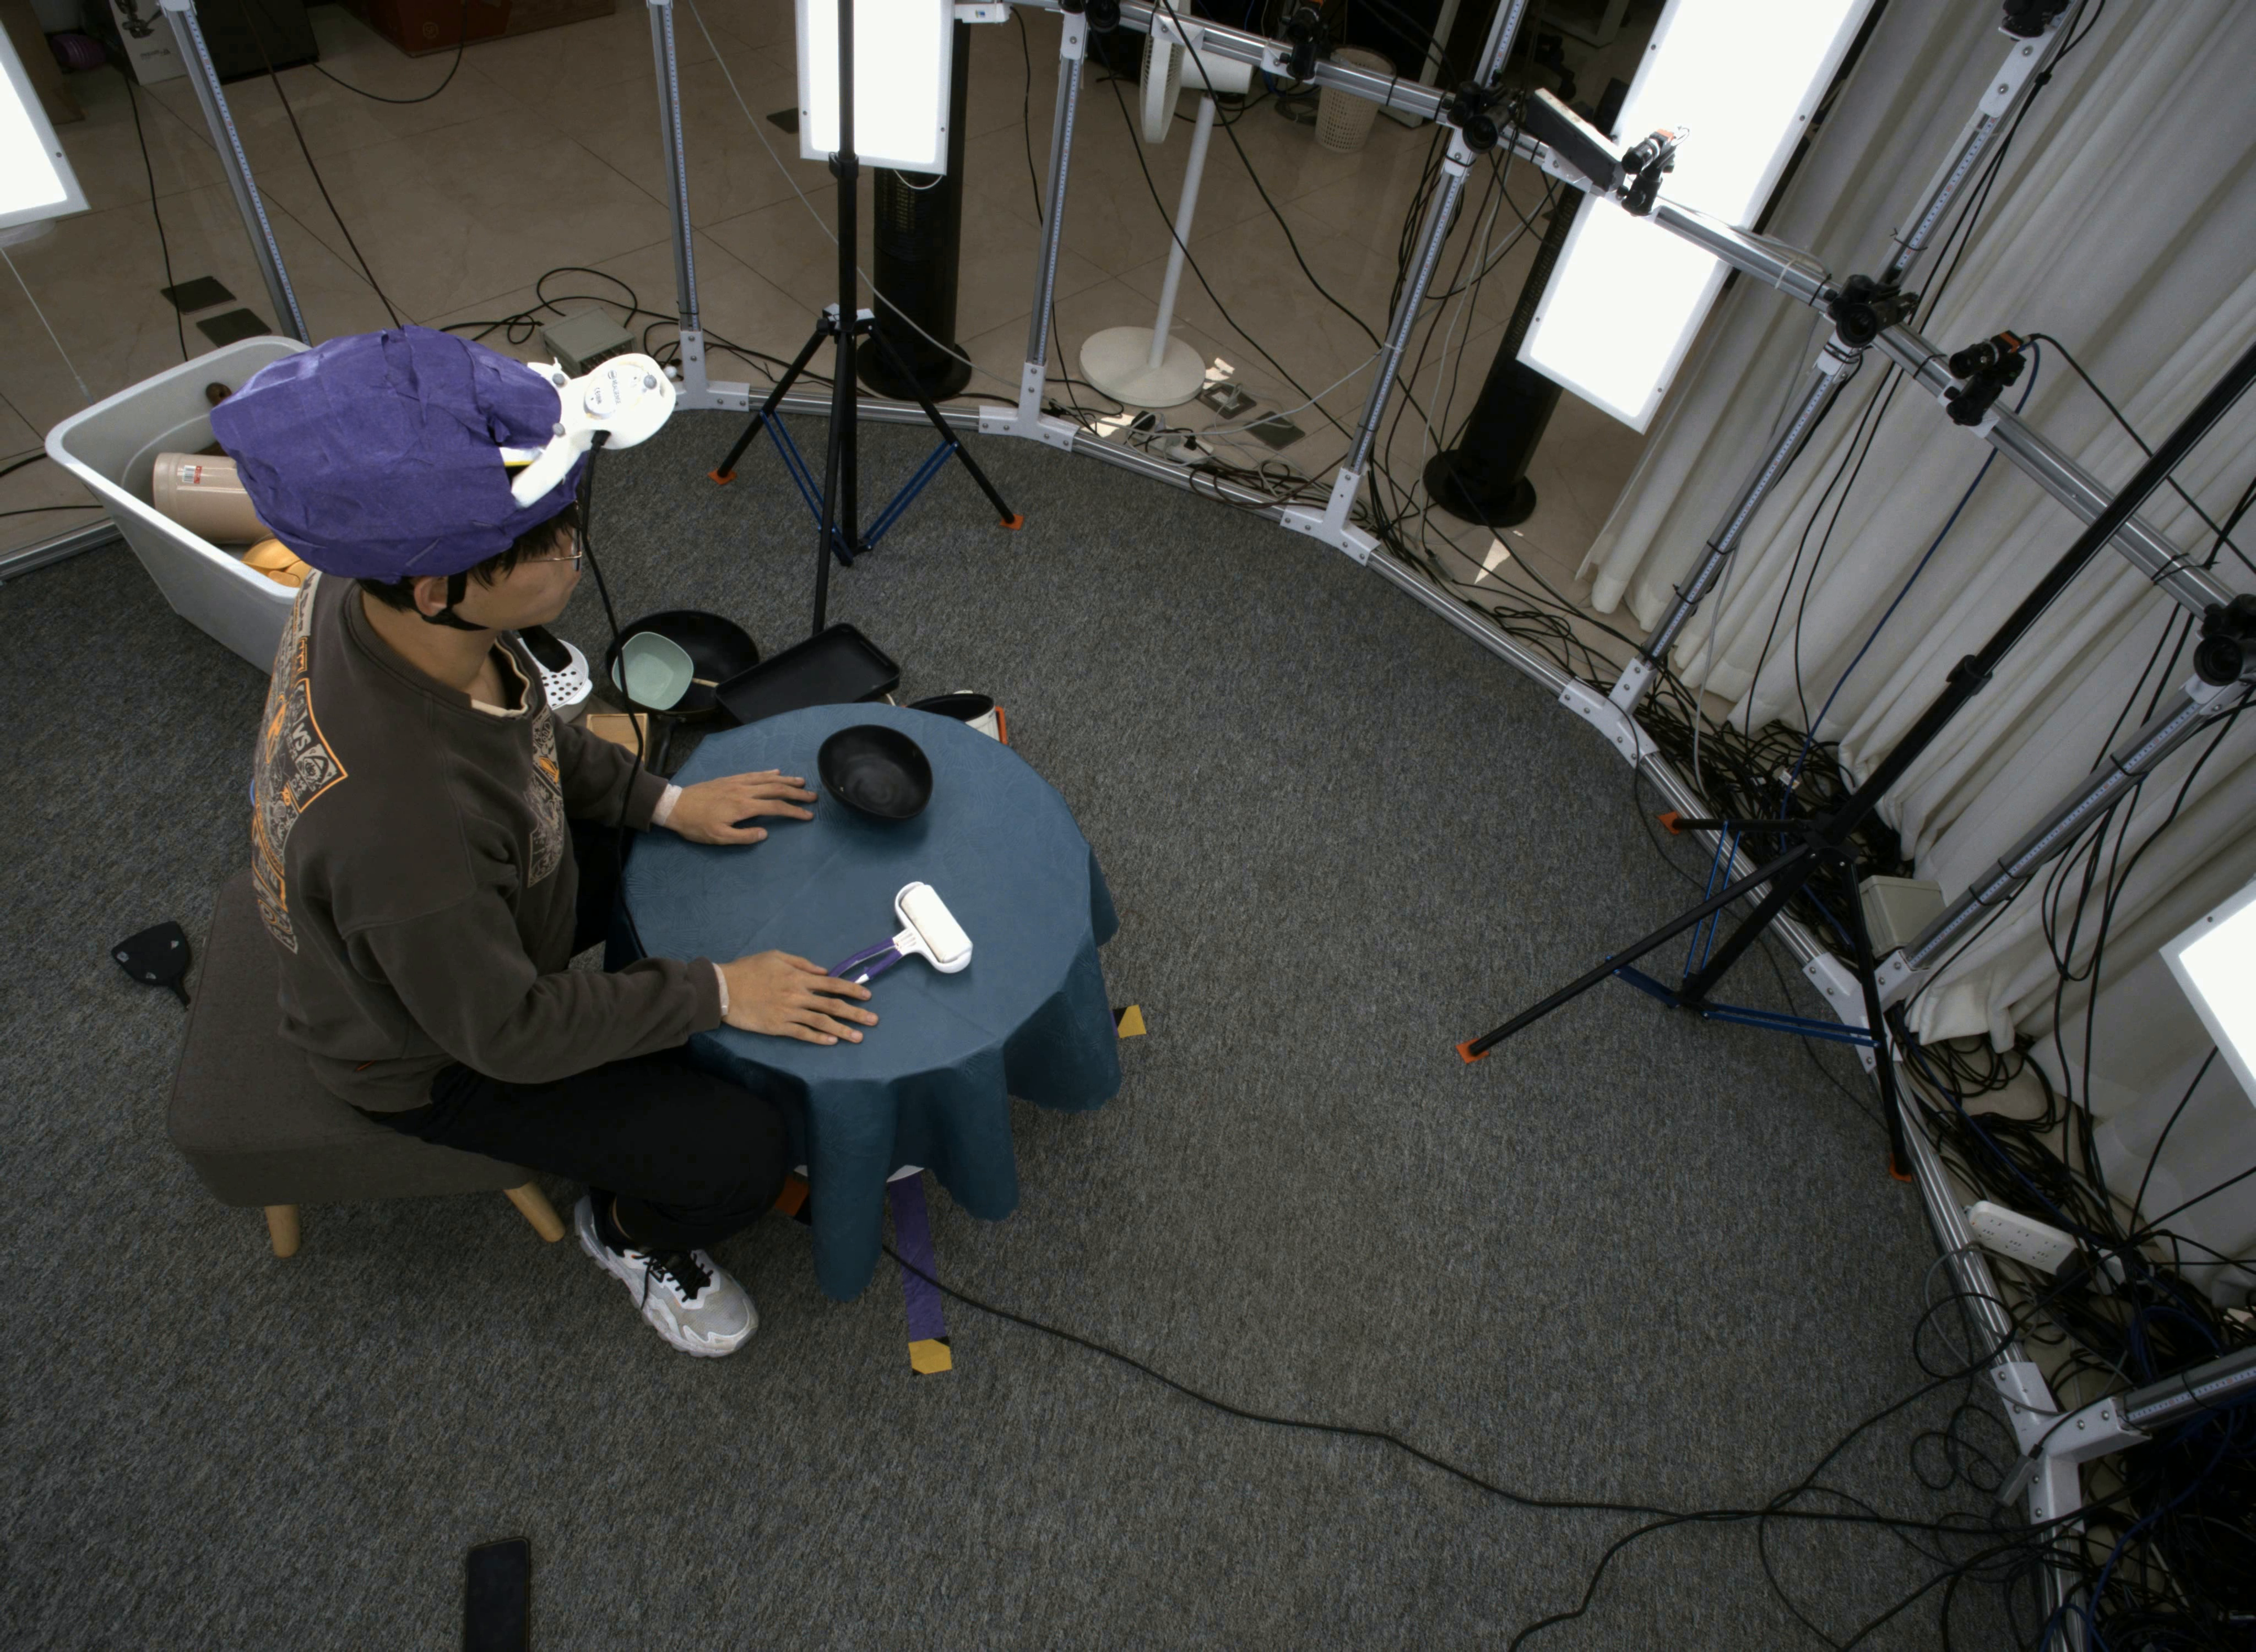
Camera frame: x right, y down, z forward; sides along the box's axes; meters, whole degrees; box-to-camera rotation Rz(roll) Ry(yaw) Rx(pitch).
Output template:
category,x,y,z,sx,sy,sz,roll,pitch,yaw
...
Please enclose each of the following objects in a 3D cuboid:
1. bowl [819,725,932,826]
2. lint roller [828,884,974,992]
category,x,y,z,sx,sy,sz,roll,pitch,yaw
bowl,-0.341,-0.059,1.762,0.167,0.068,0.137,38,56,13
lint roller,-0.296,0.149,1.629,0.182,0.051,0.130,-23,62,-30
